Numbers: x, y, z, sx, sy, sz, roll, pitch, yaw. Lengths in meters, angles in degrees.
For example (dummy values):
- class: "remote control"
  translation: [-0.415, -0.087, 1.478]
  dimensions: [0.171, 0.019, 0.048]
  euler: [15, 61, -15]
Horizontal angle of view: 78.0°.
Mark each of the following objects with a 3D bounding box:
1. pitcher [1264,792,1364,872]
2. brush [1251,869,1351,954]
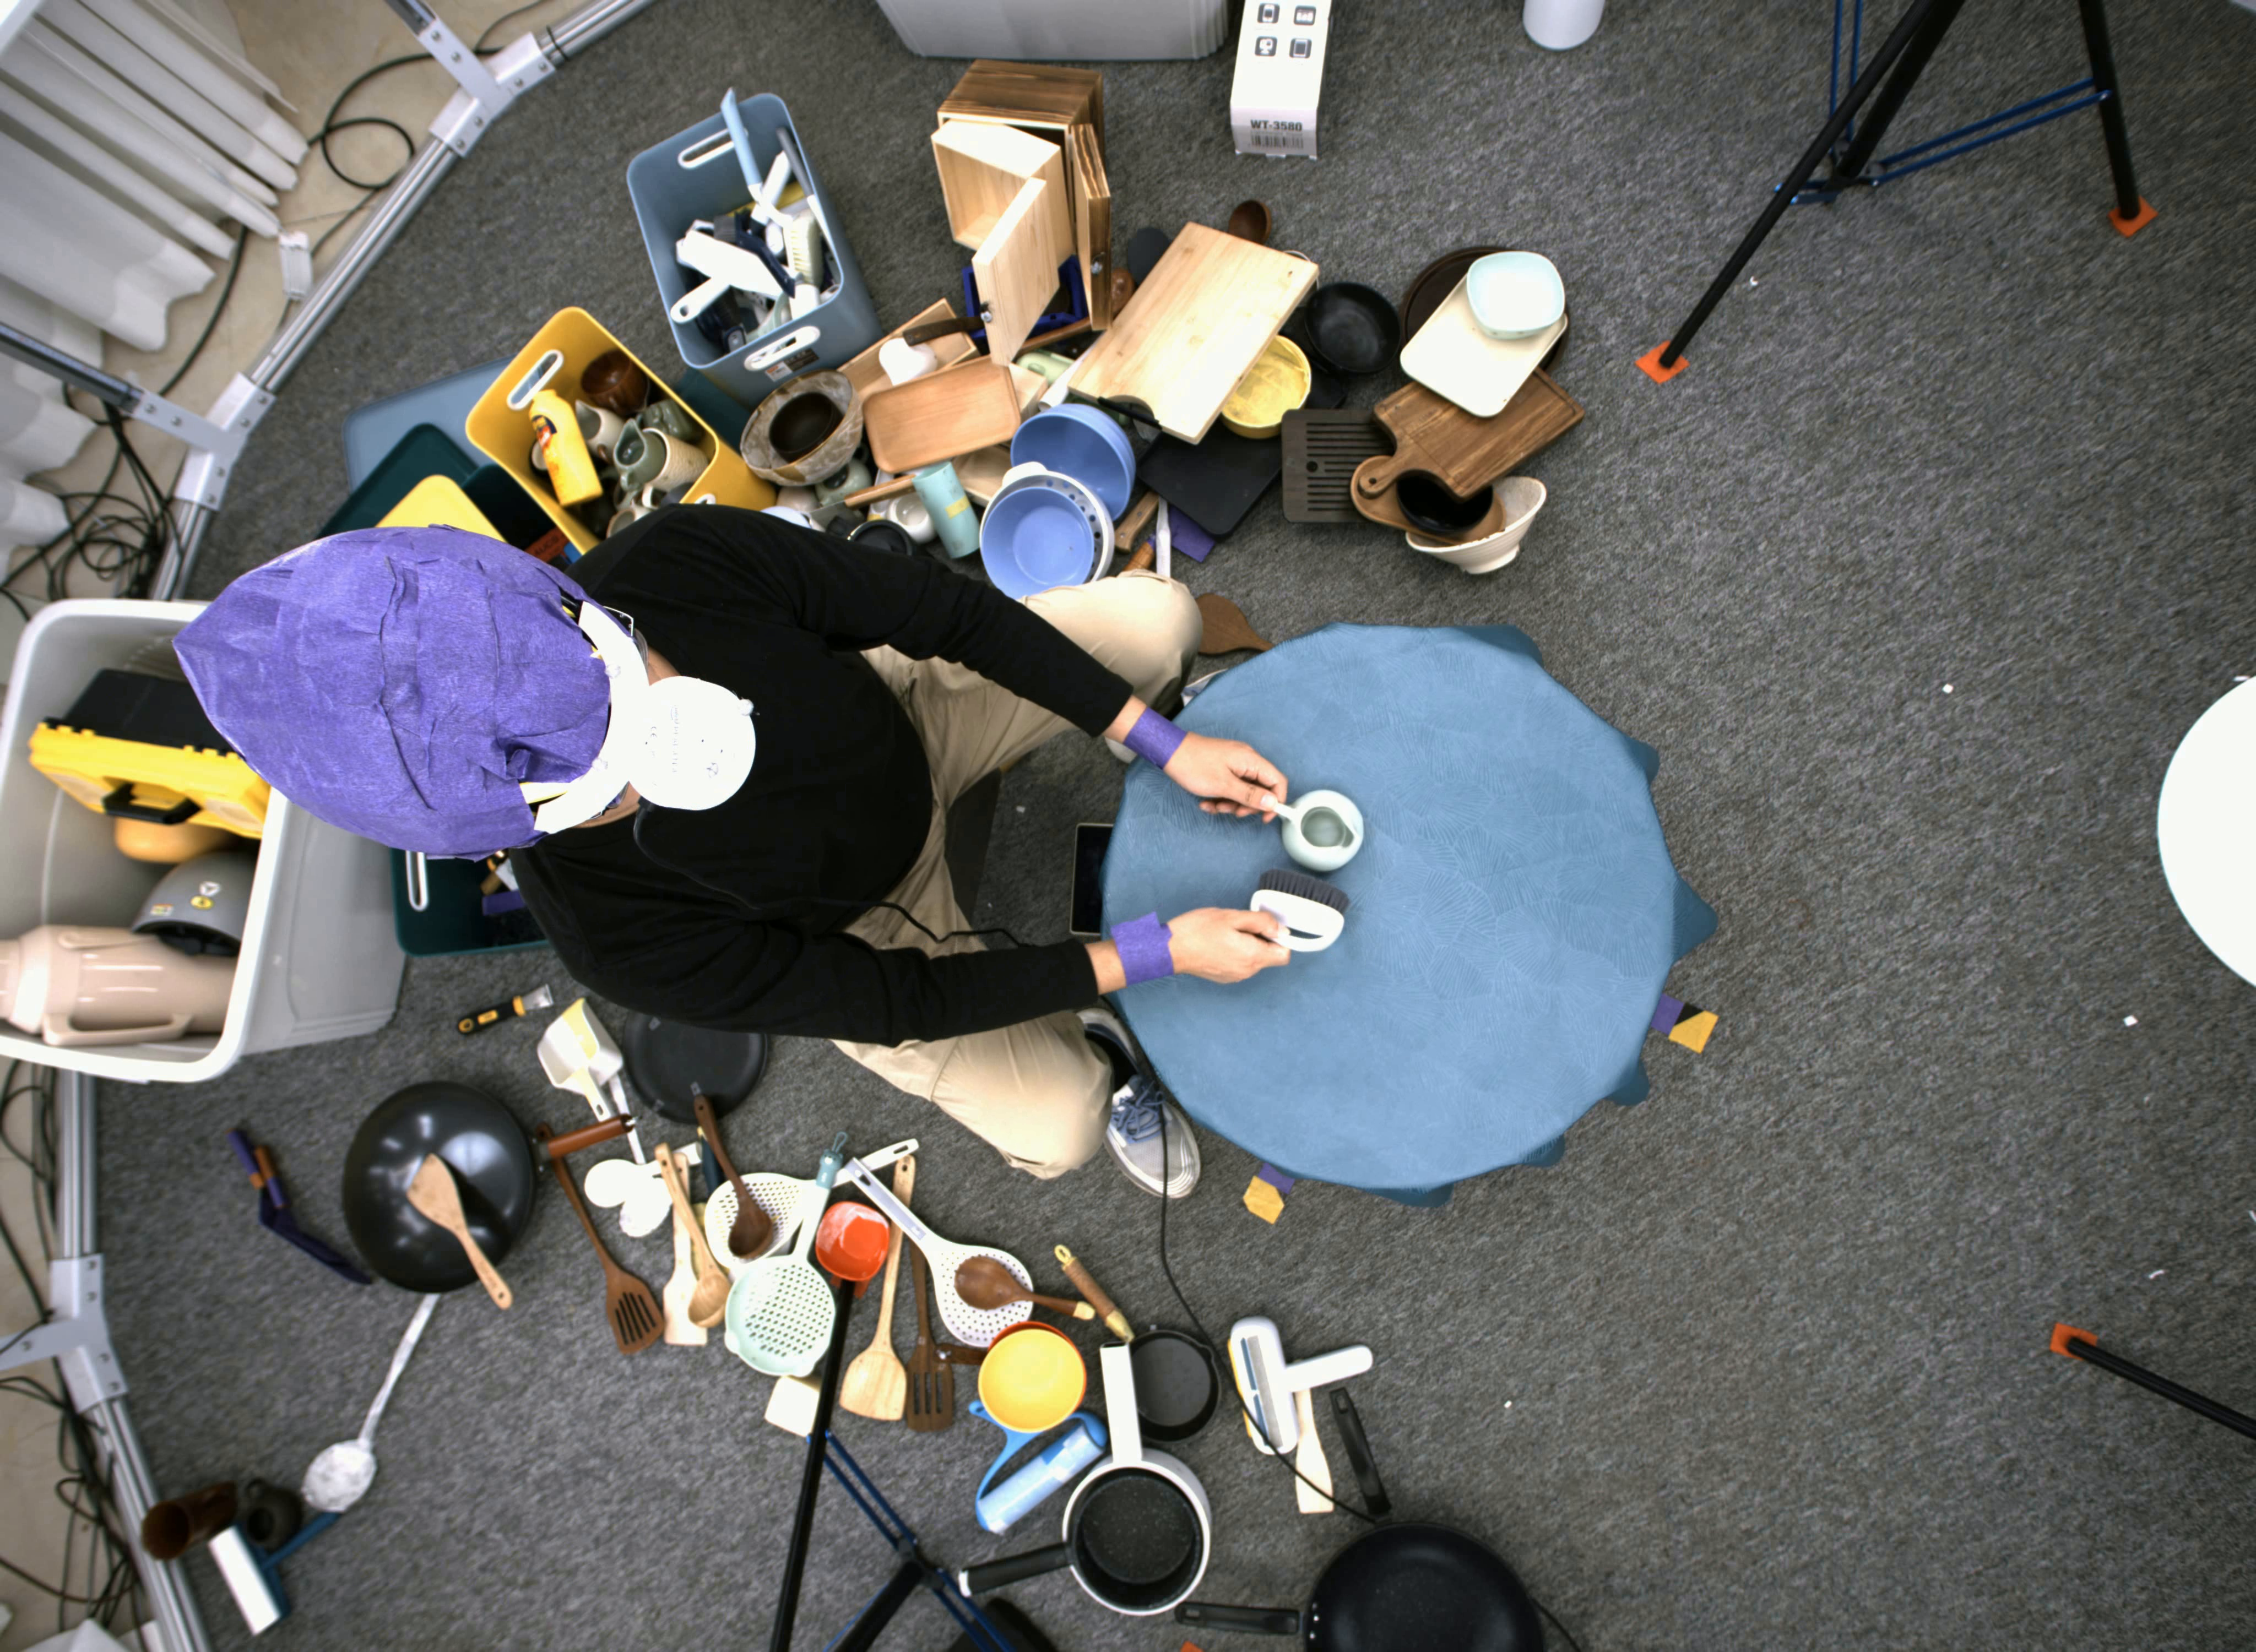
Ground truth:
- class: "pitcher"
  translation: [0.193, 0.000, 1.449]
  dimensions: [0.108, 0.060, 0.086]
  euler: [22, 88, 13]
- class: "brush"
  translation: [0.175, 0.094, 1.432]
  dimensions: [0.099, 0.051, 0.071]
  euler: [18, 58, 6]
